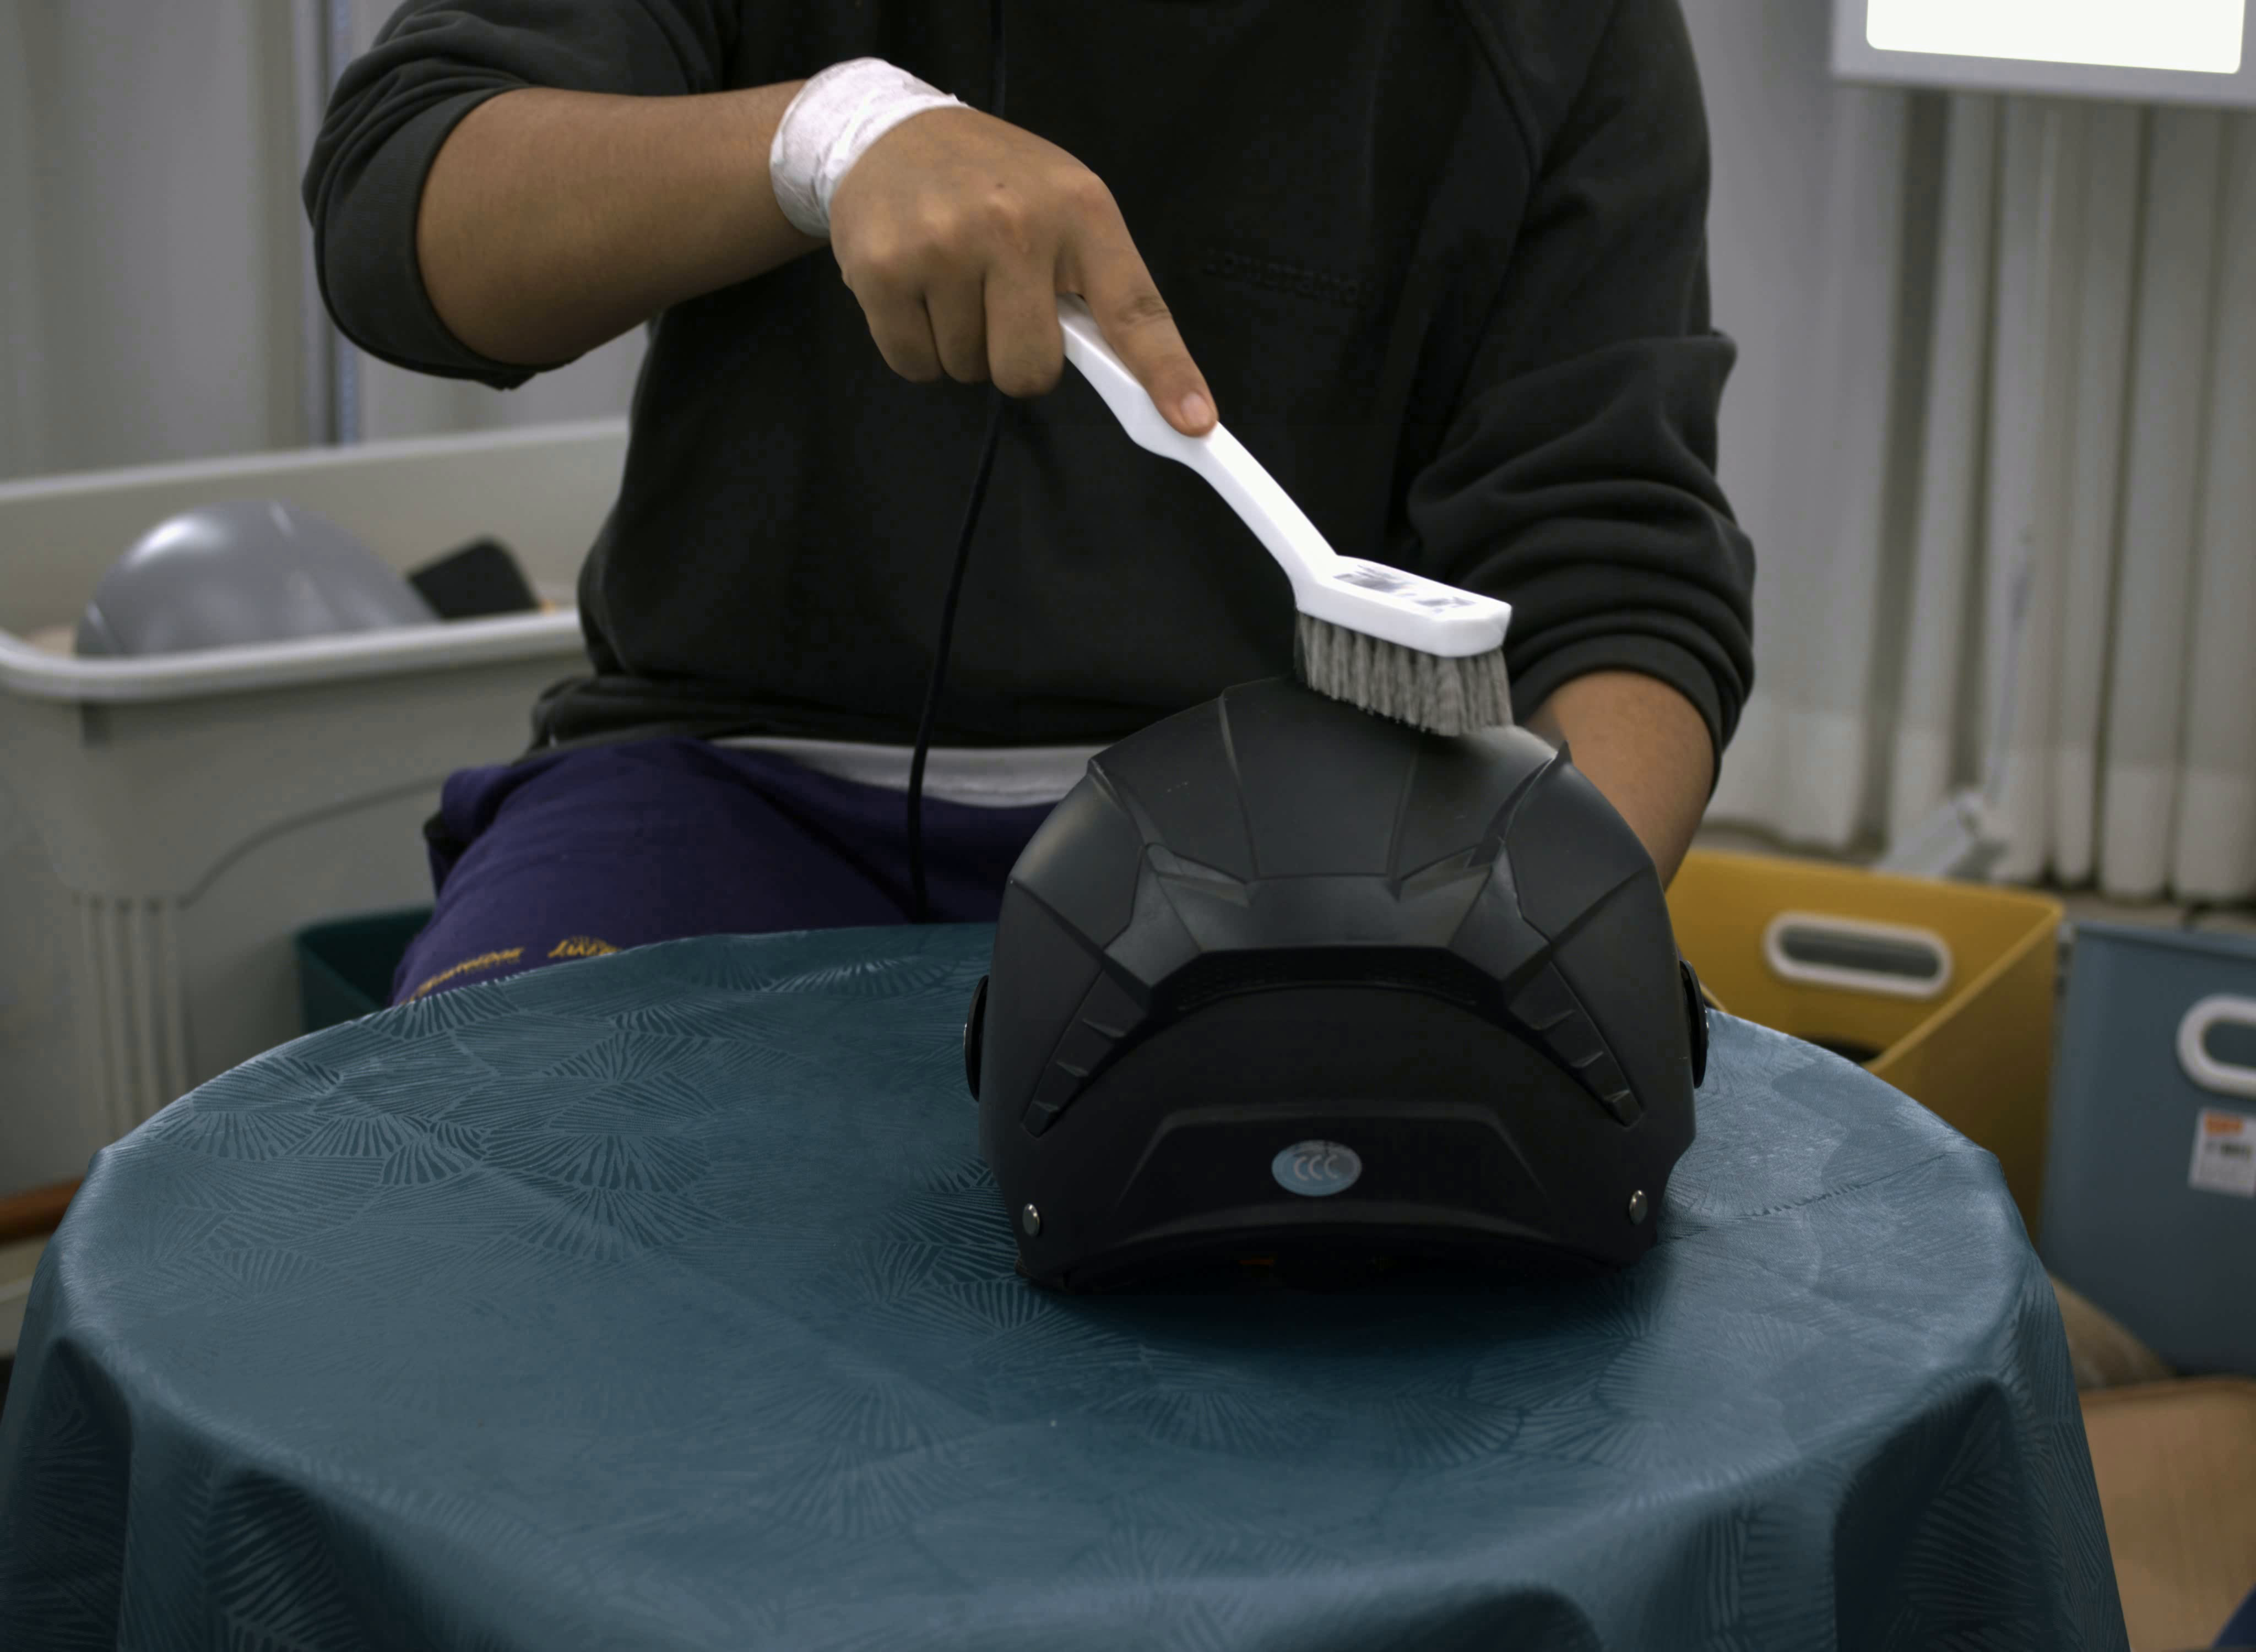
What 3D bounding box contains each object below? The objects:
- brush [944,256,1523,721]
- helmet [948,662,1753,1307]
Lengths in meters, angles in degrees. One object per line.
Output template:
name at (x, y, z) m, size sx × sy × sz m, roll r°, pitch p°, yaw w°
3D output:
brush at (0.025, -0.099, 1.585) m, size 0.240 × 0.050 × 0.034 m, roll 36°, pitch 33°, yaw 30°
helmet at (0.065, 0.036, 1.588) m, size 0.245 × 0.174 × 0.275 m, roll 0°, pitch 19°, yaw 4°
